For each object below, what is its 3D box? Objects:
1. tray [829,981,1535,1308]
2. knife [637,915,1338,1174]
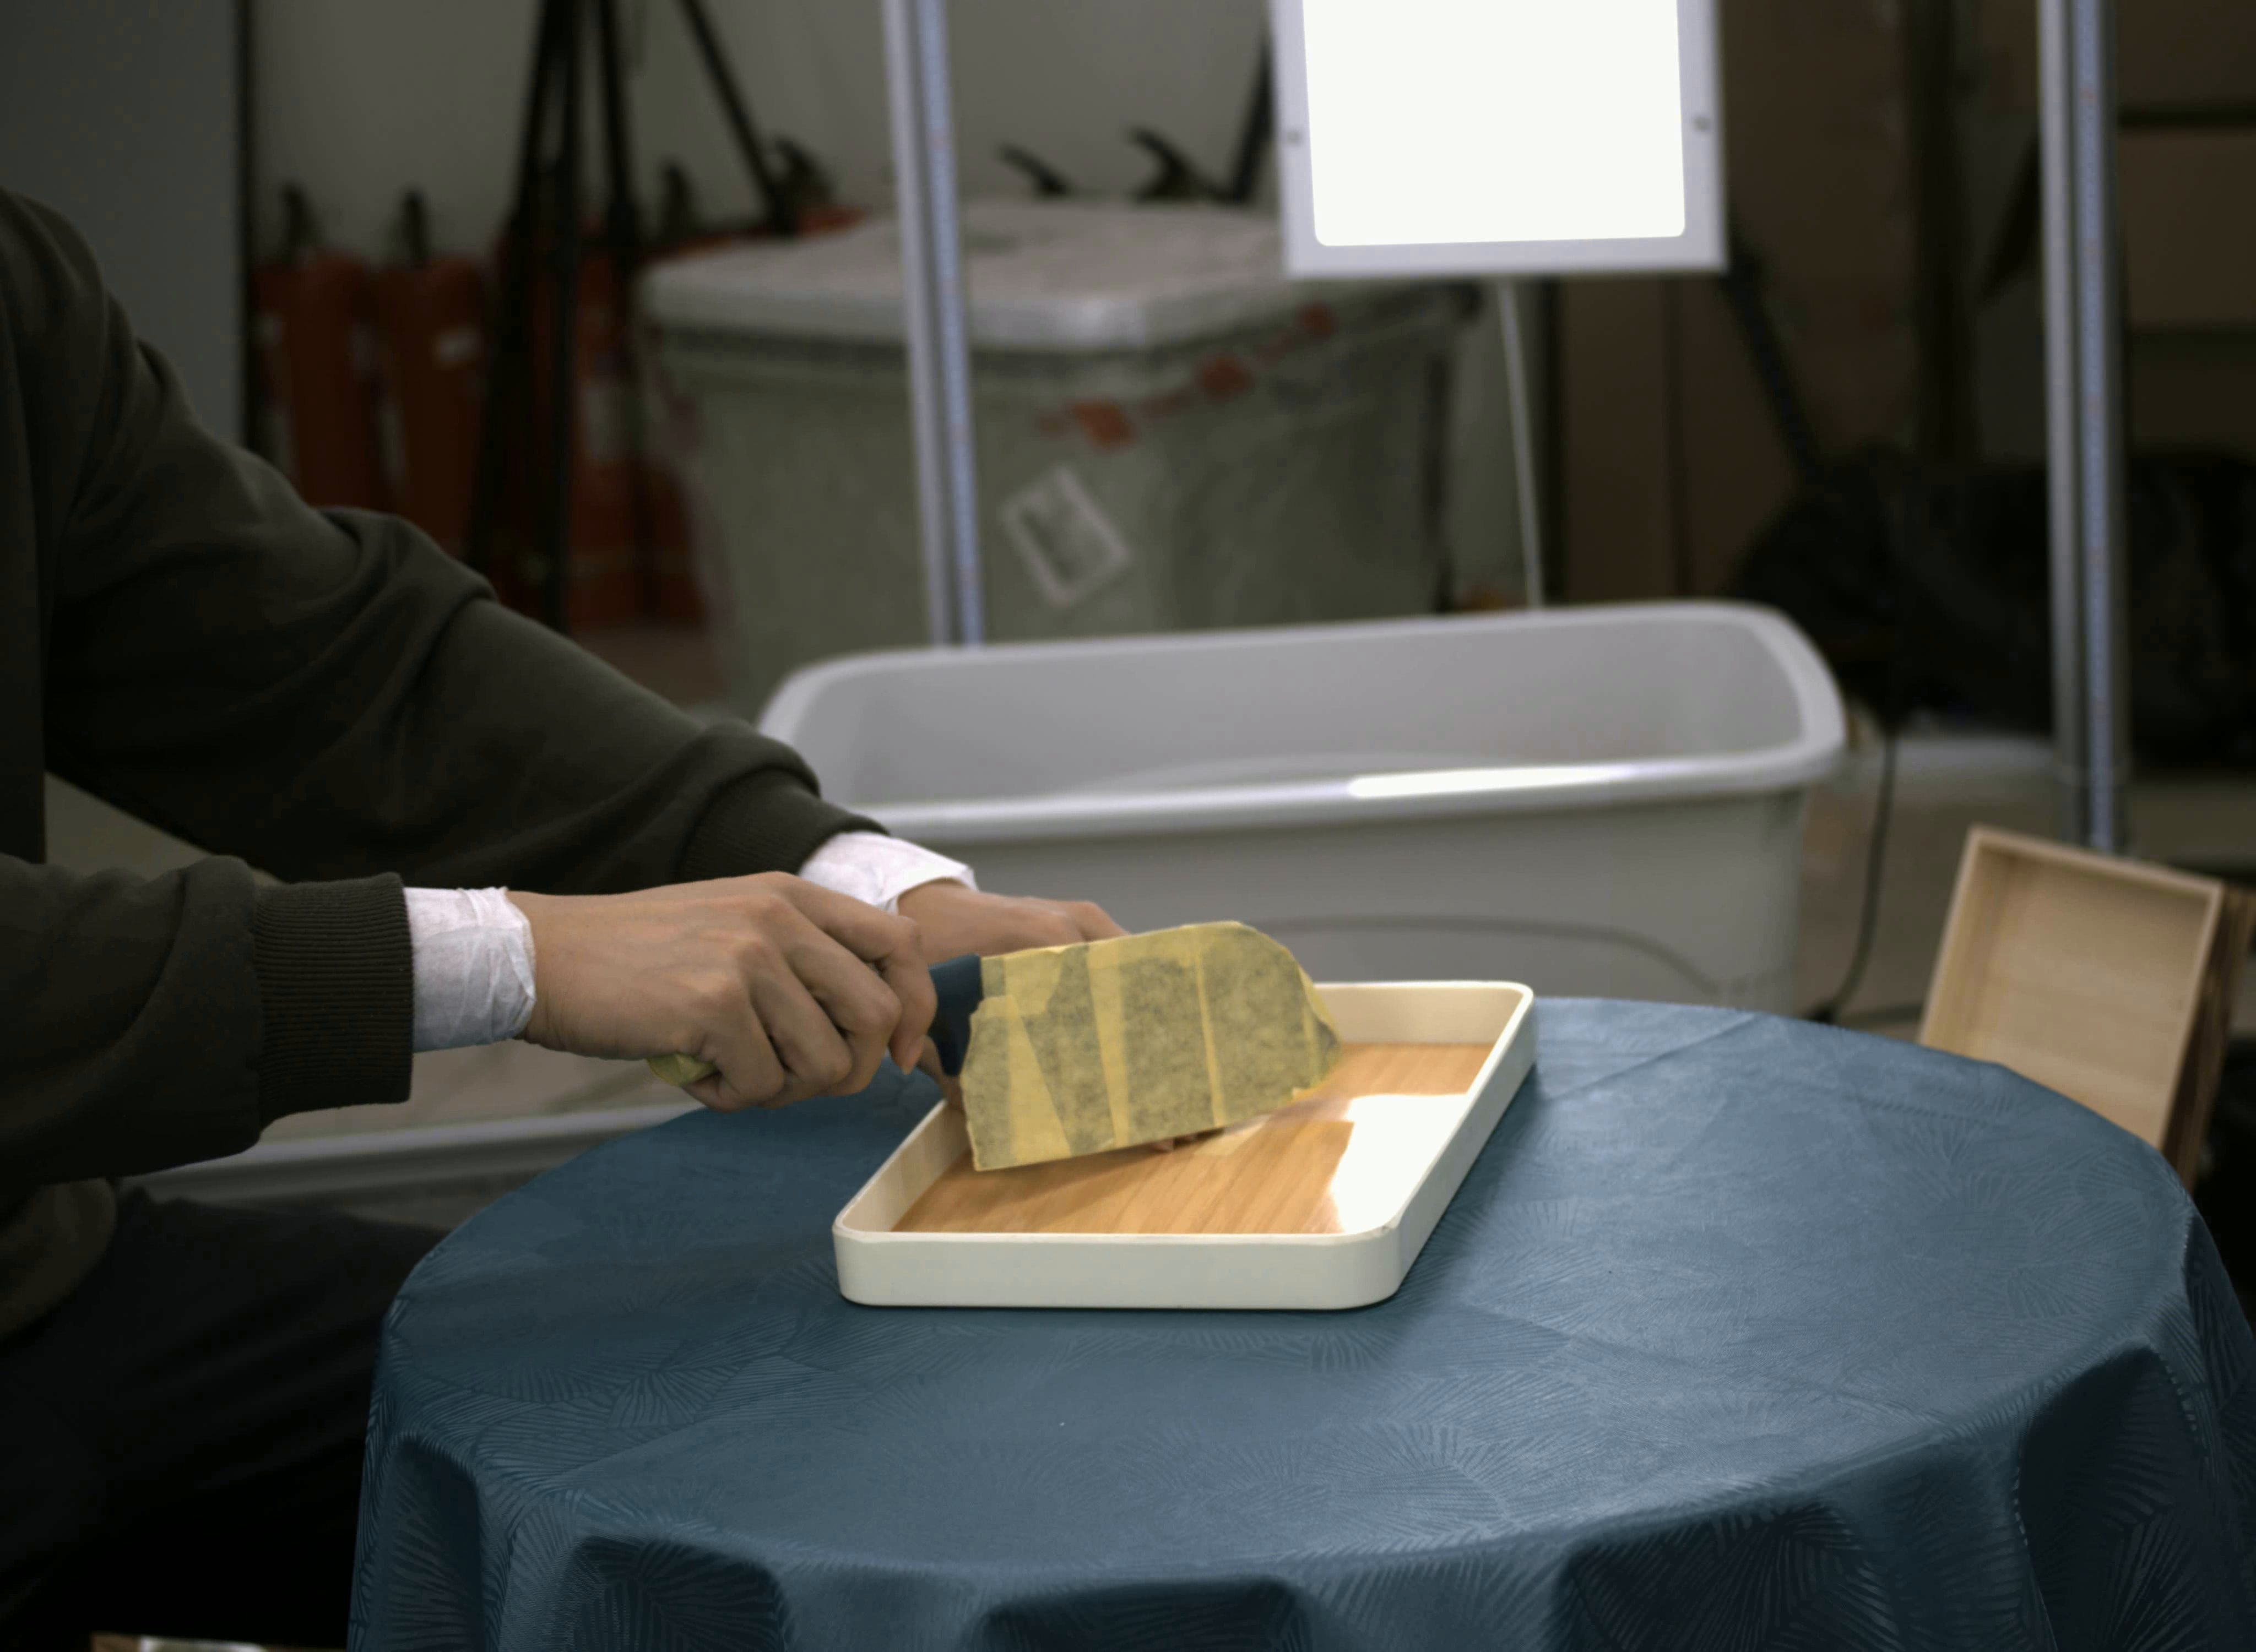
[{"bbox_3d":[0.026,0.108,1.915,0.193,0.027,0.296,-2,14,16],"label":"tray"},{"bbox_3d":[-0.041,0.077,1.886,0.282,0.081,0.028,-5,-3,-34],"label":"knife"}]
